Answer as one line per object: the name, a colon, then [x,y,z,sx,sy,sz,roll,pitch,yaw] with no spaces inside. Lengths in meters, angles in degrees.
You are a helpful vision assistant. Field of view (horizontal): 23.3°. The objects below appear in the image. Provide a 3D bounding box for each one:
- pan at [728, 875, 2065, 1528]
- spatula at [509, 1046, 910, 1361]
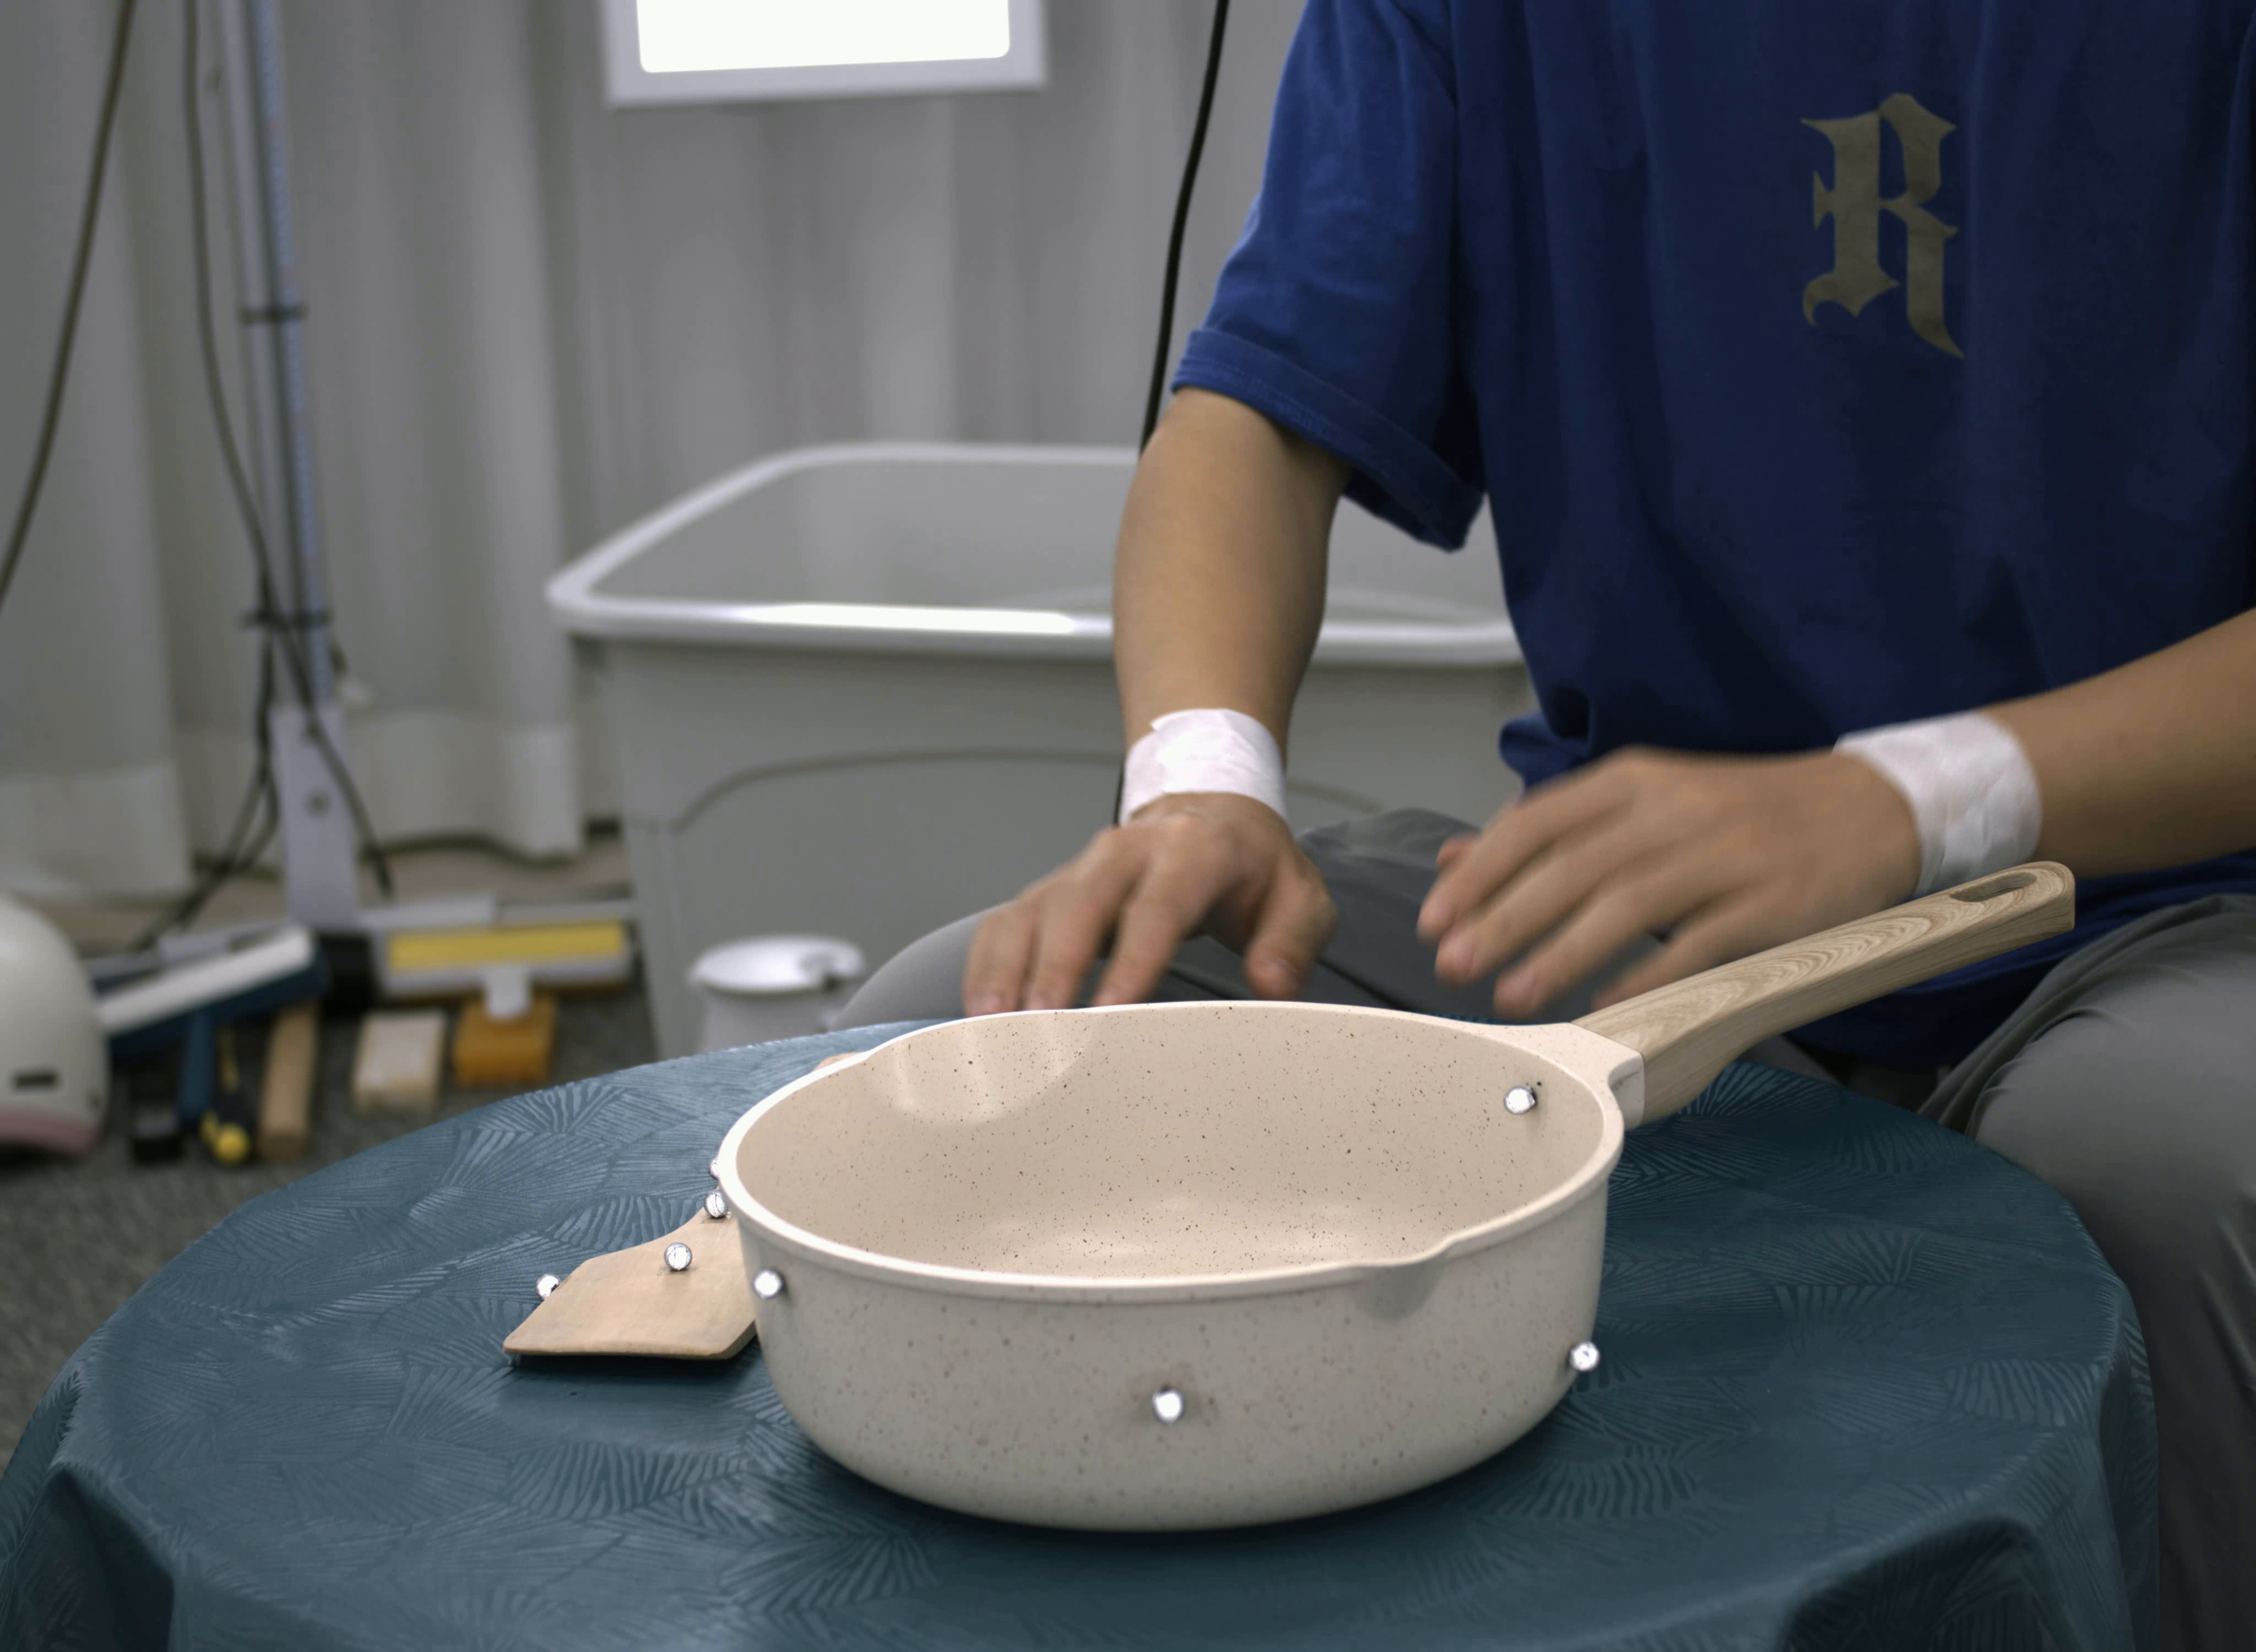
pan: [0.096,0.100,1.553,0.433,0.101,0.265,-11,15,-28]
spatula: [-0.117,0.116,1.710,0.072,0.010,0.294,0,15,13]
